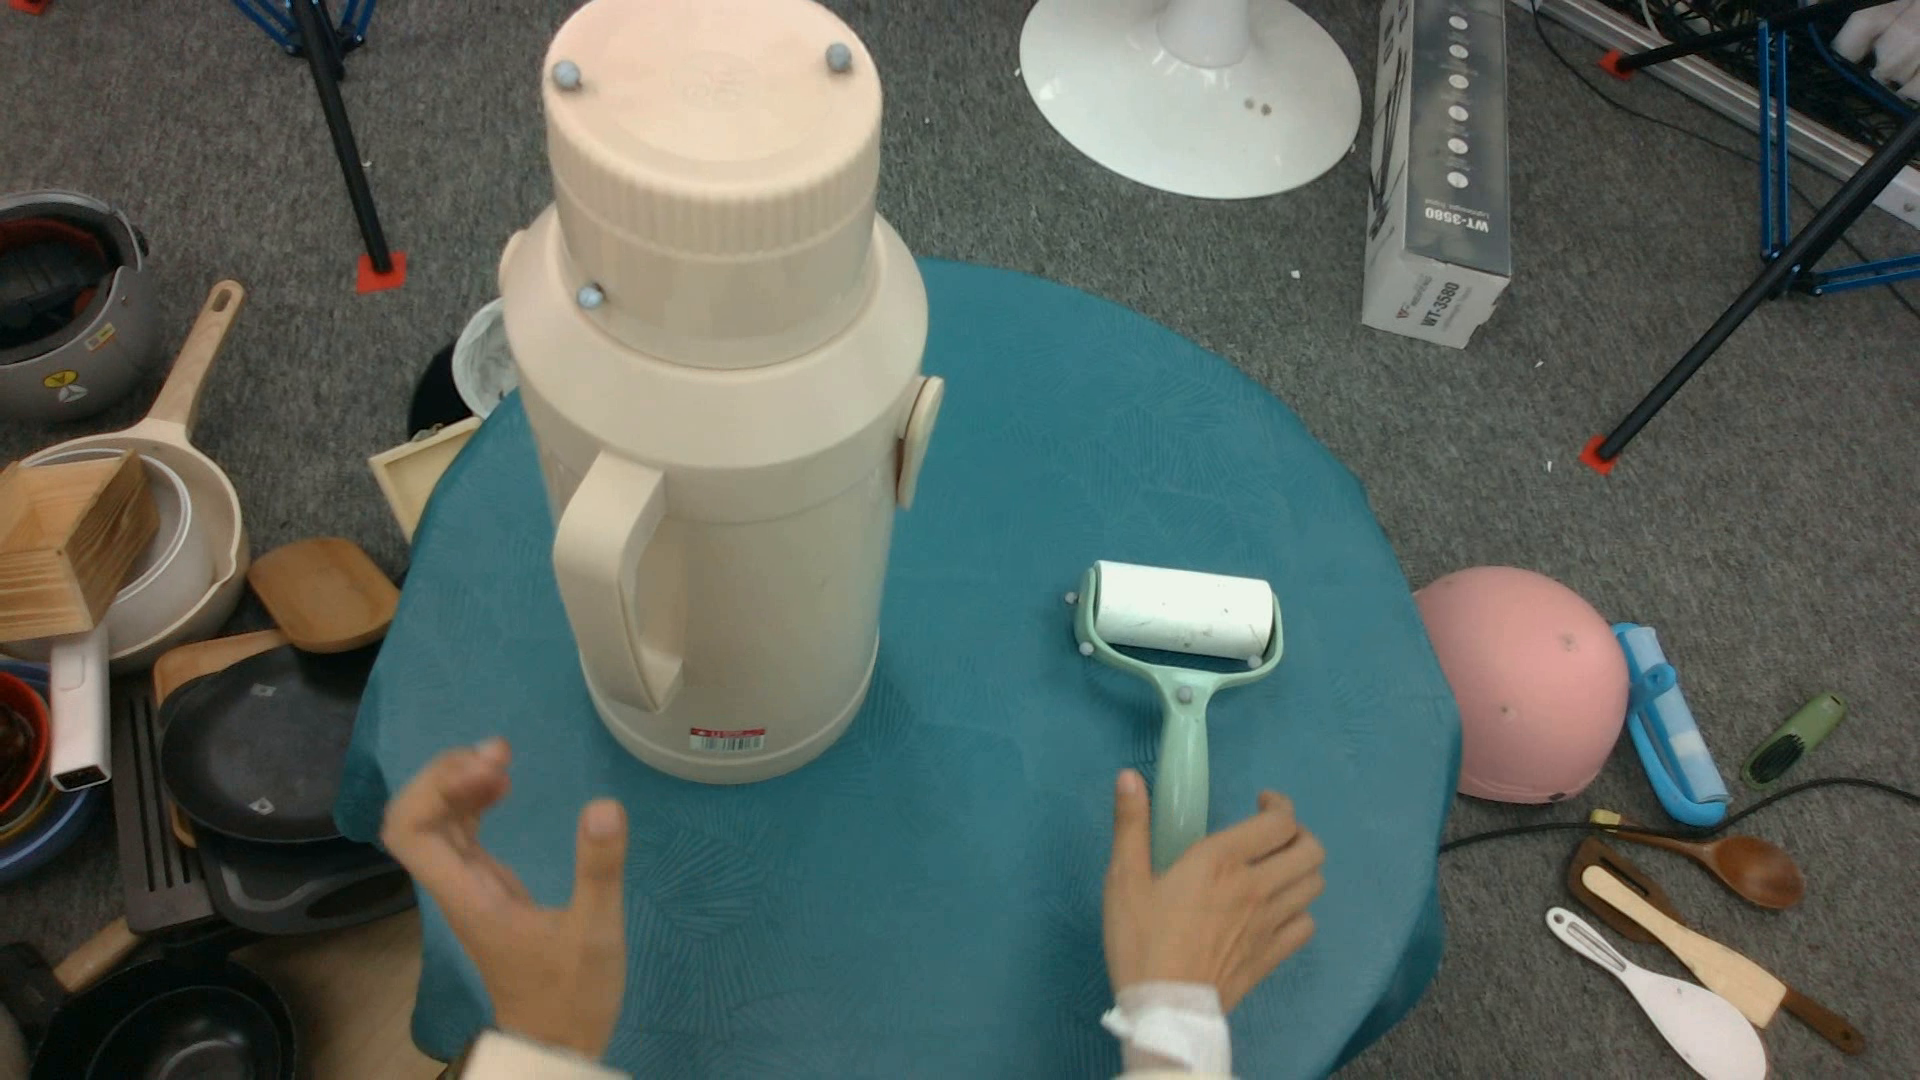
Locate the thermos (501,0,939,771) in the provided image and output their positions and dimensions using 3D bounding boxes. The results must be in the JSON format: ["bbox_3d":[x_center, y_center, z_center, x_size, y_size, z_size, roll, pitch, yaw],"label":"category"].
[{"bbox_3d":[-0.109,-0.035,0.593,0.175,0.404,0.208,20,58,3],"label":"thermos"}]

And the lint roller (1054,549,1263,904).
[{"bbox_3d":[0.108,0.097,0.753,0.117,0.048,0.198,9,57,-7],"label":"lint roller"}]
